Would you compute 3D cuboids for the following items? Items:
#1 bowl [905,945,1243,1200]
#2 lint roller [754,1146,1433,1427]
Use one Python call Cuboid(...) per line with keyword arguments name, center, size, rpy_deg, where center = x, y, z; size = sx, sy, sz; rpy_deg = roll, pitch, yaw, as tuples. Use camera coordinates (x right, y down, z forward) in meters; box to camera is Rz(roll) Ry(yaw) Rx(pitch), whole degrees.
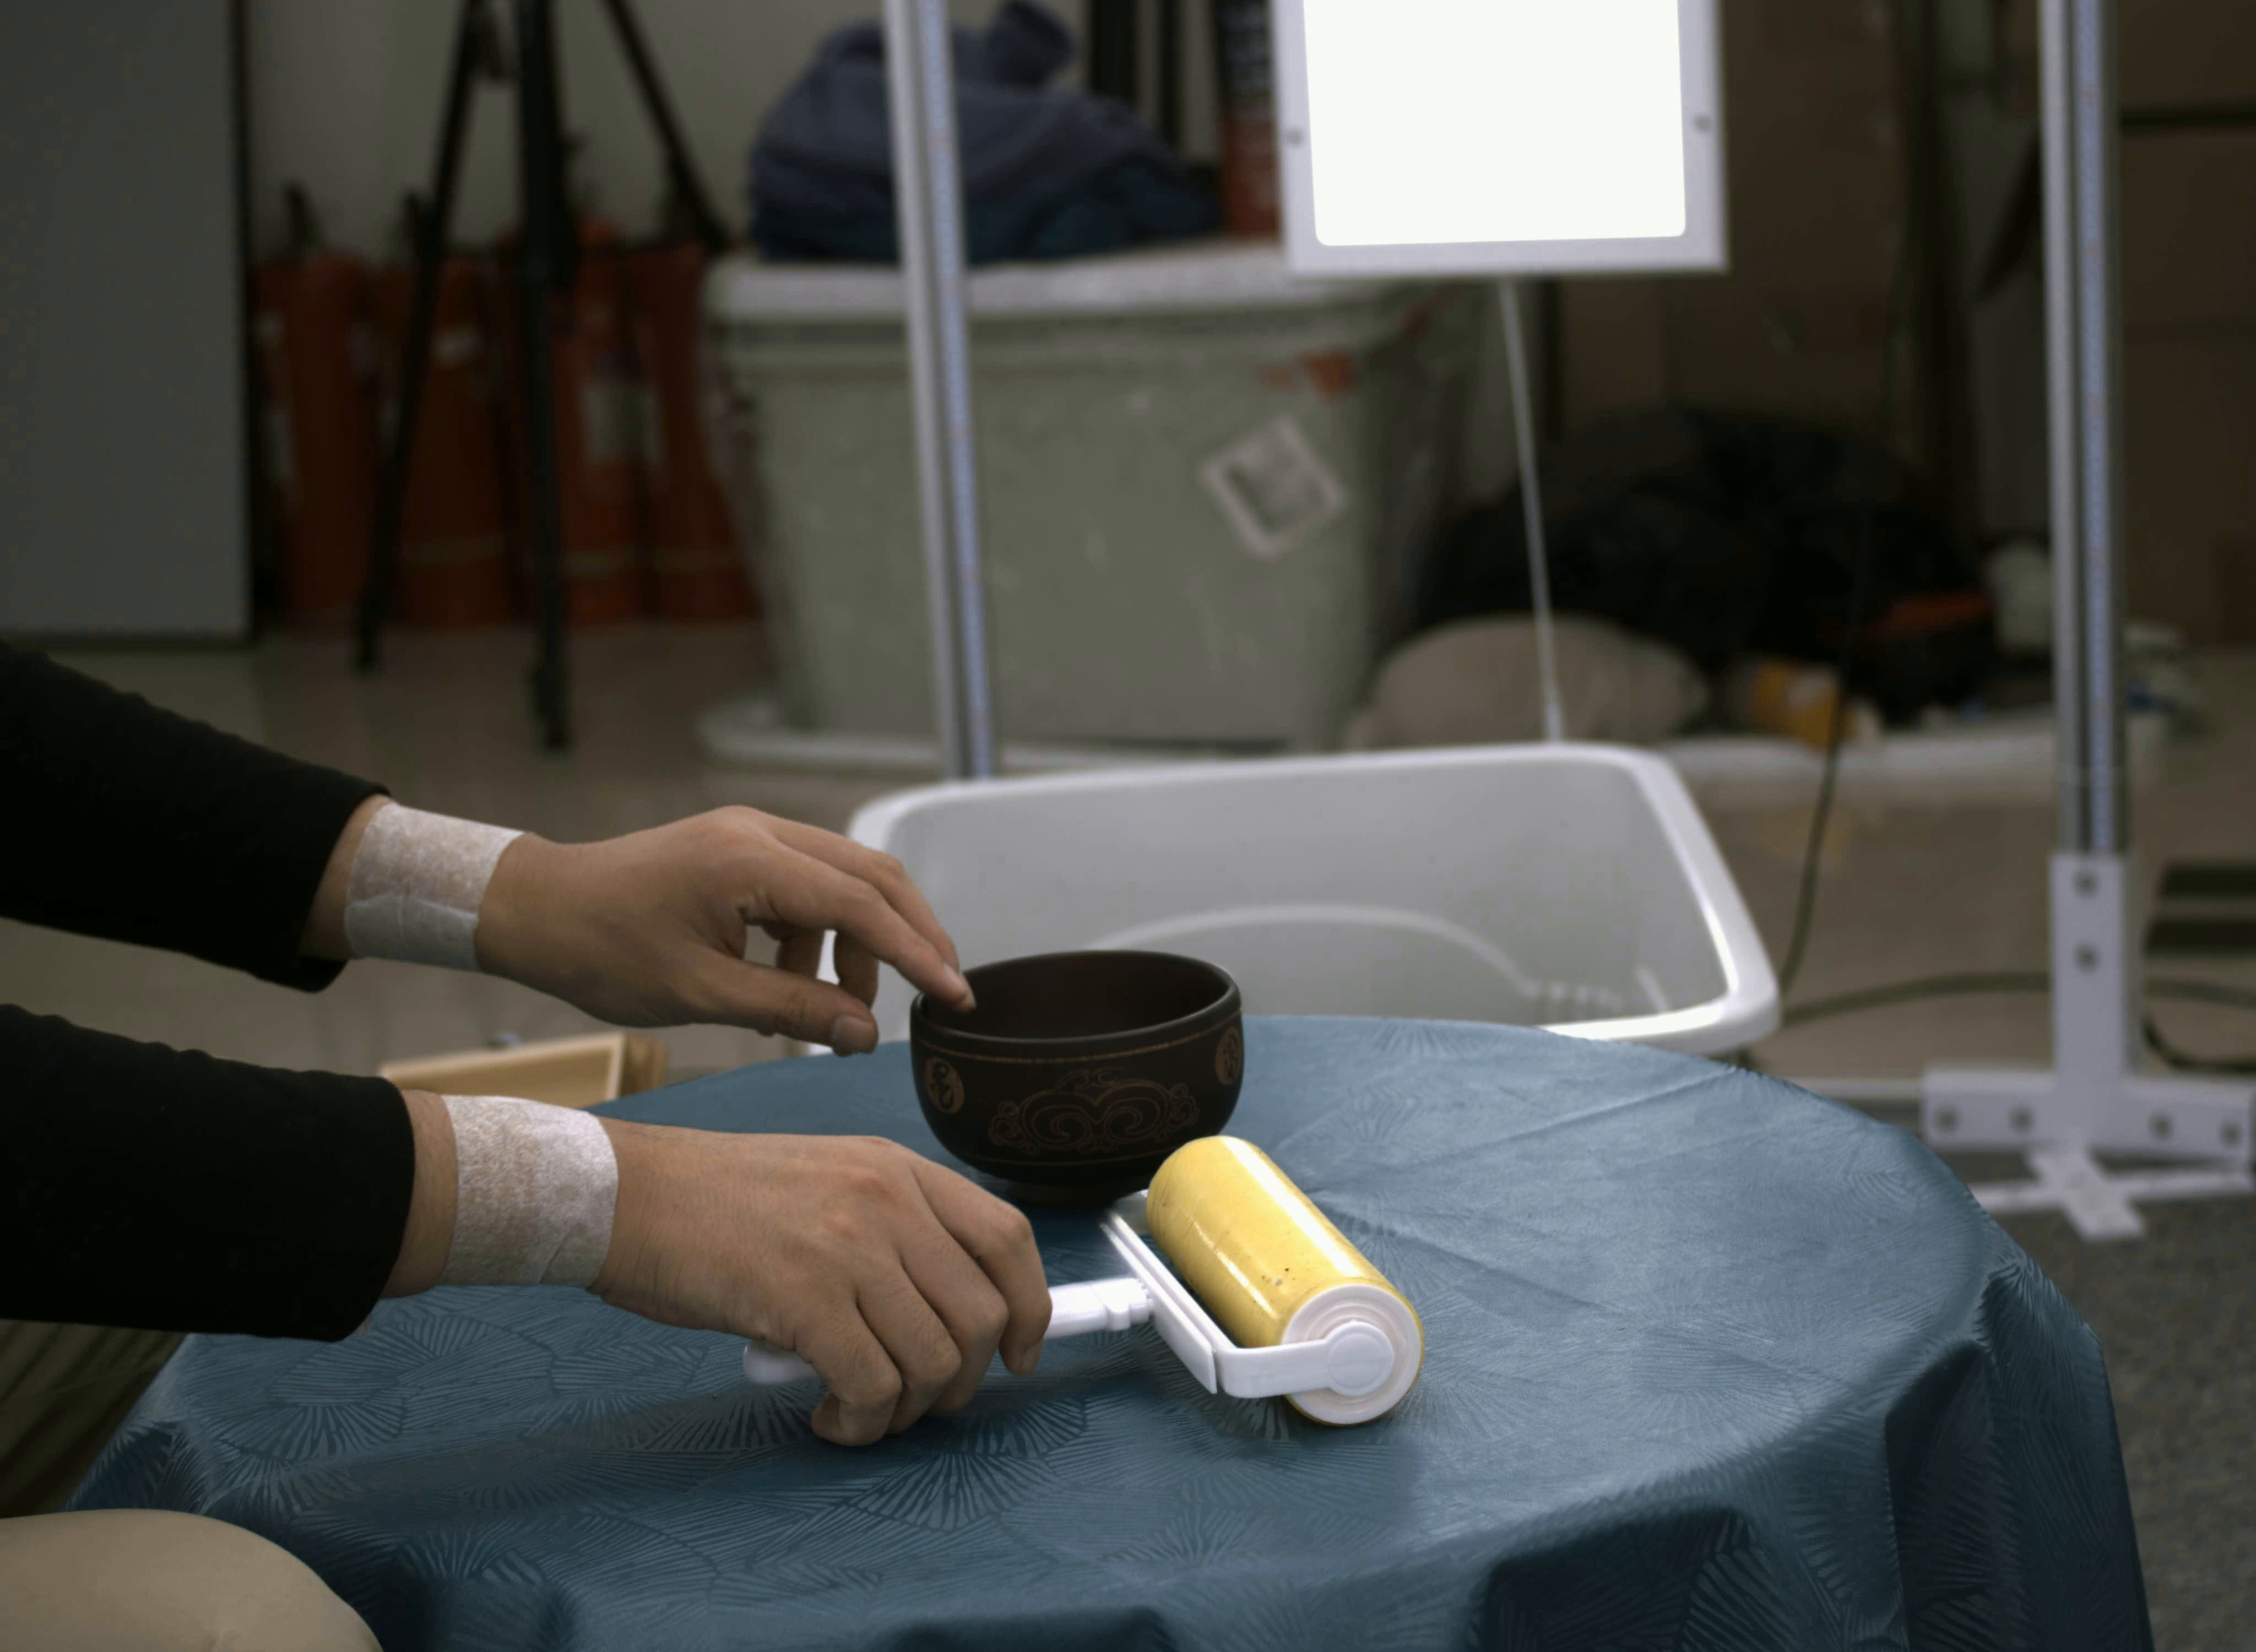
Cuboid(name="bowl", center=(-0.018, 0.088, 1.903), size=(0.117, 0.070, 0.118), rpy_deg=(-4, 13, 0))
Cuboid(name="lint roller", center=(-0.021, 0.144, 1.707), size=(0.189, 0.051, 0.176), rpy_deg=(1, 11, -15))
